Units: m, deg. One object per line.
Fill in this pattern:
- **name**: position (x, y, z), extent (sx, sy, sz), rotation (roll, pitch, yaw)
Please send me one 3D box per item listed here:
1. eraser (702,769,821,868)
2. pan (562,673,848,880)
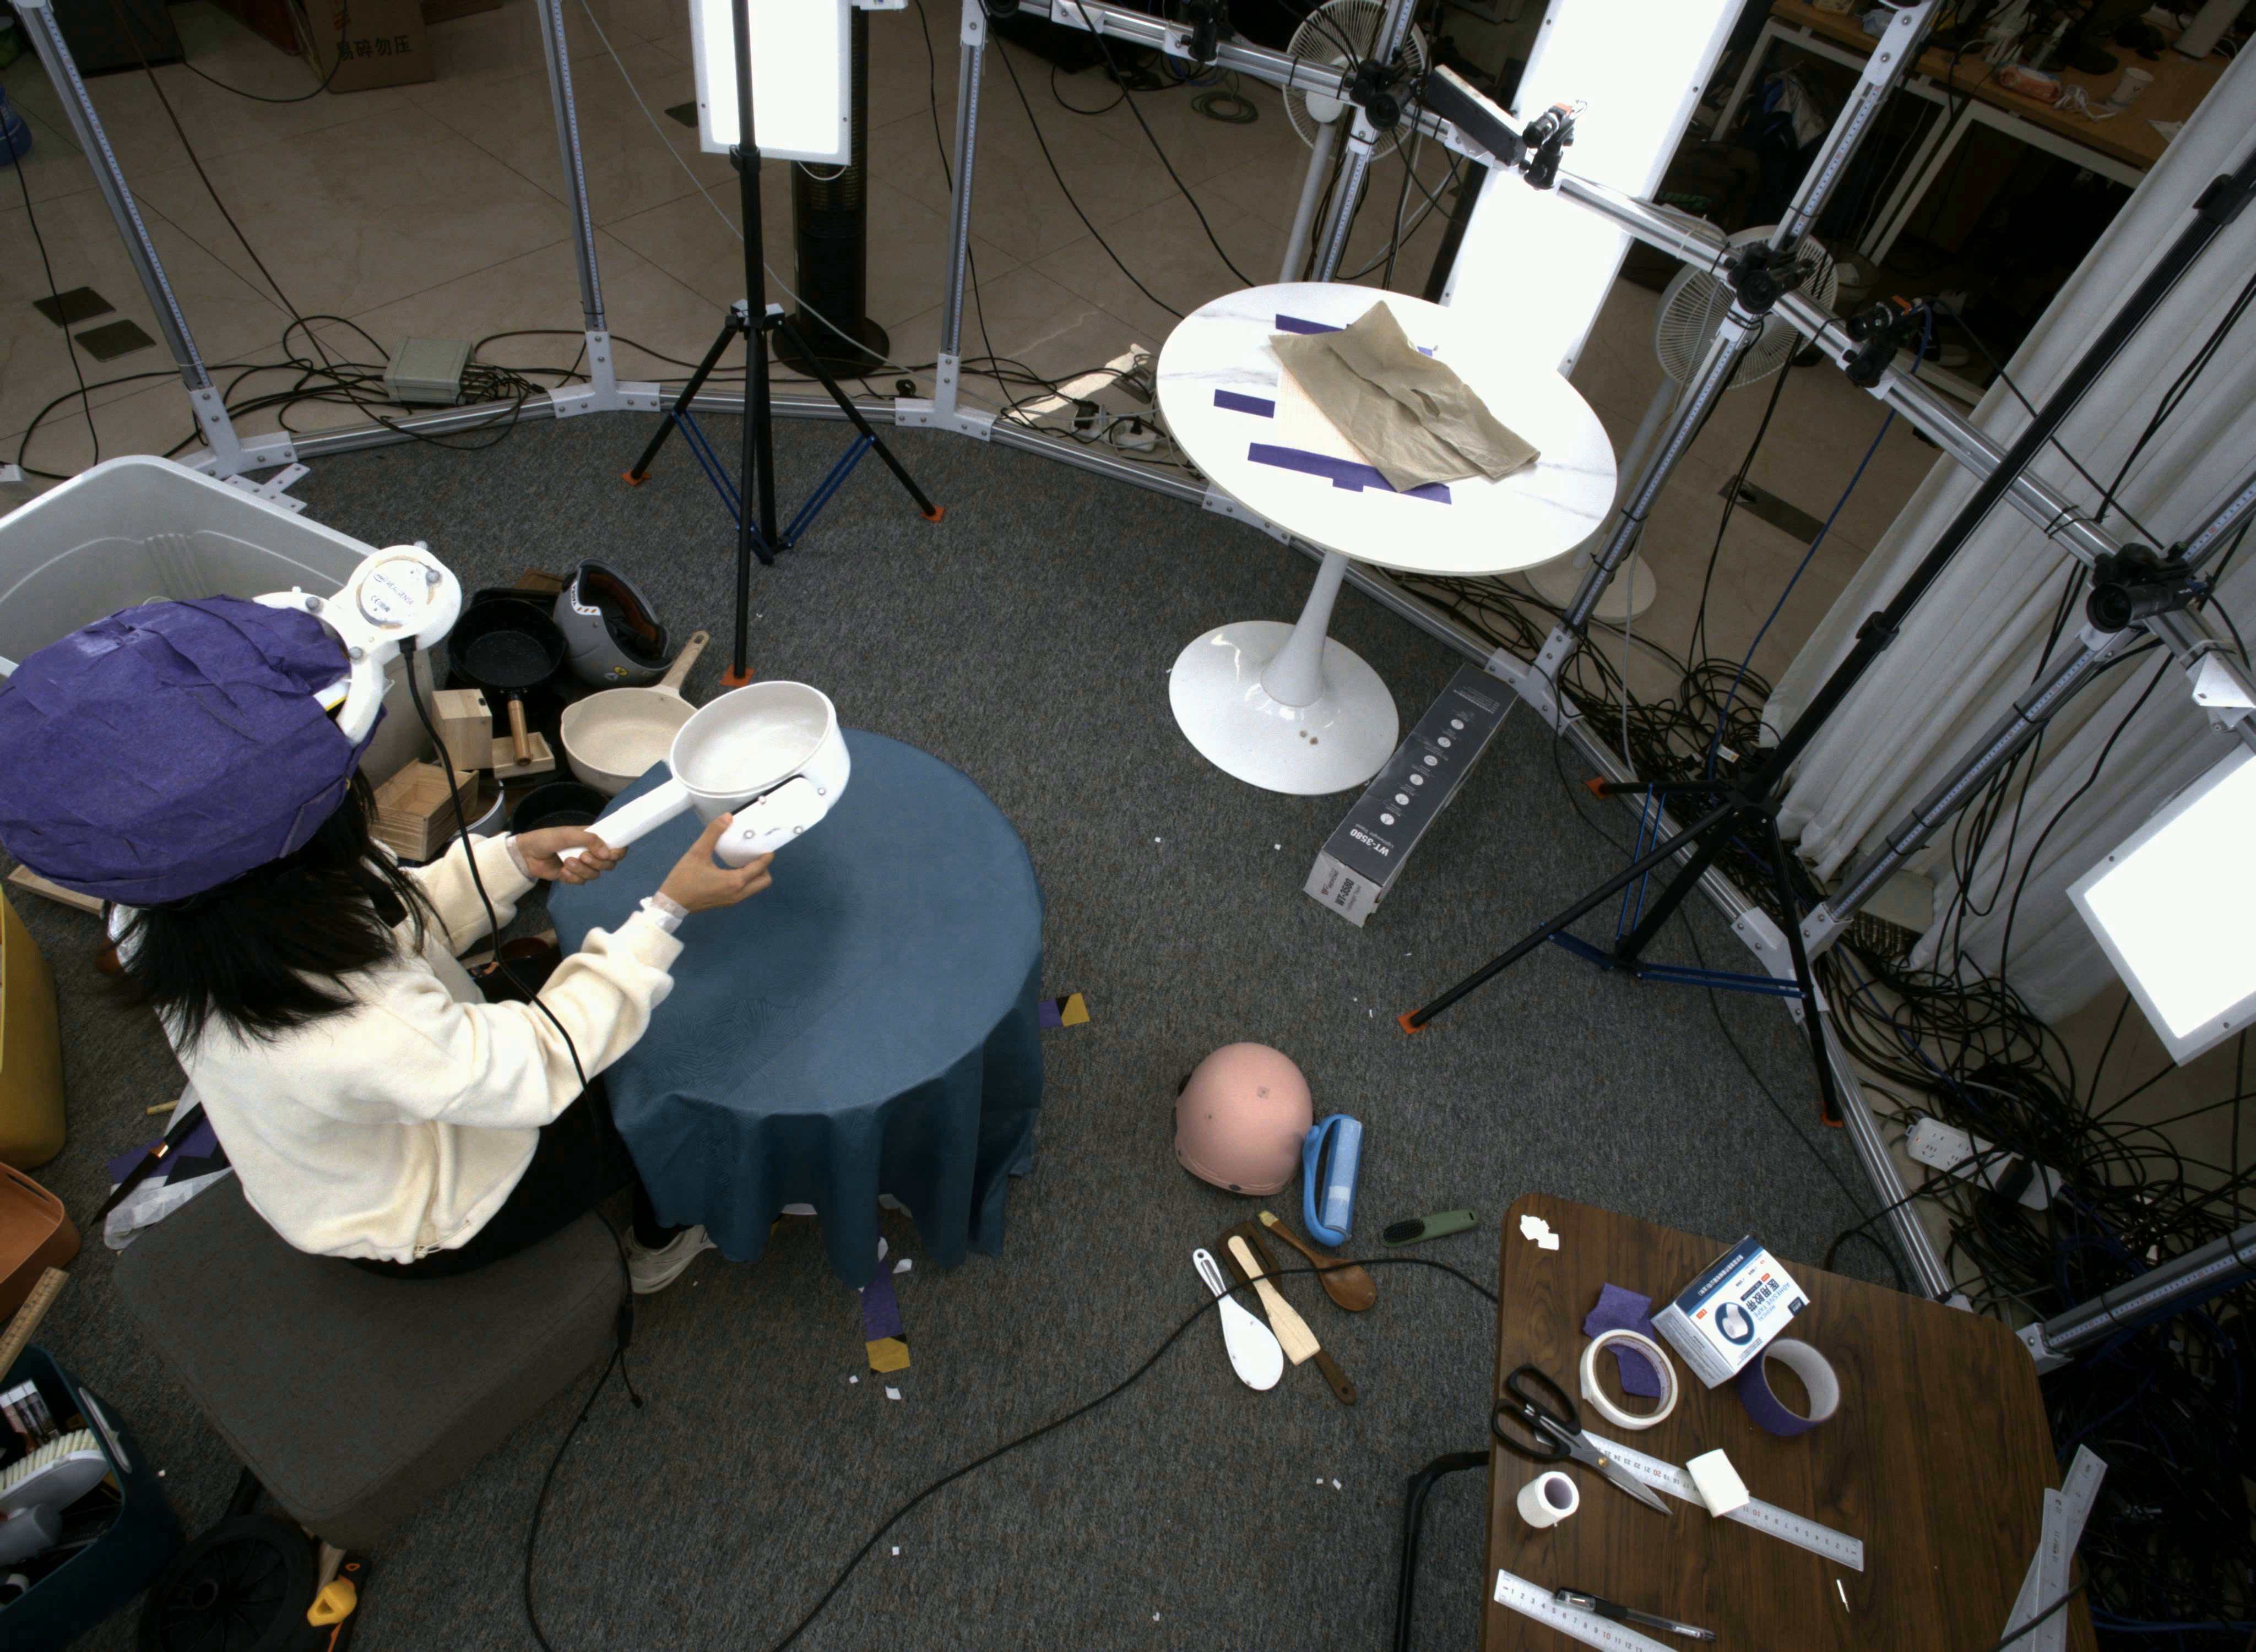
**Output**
- **eraser**: position (-0.408, -0.010, 1.439), extent (0.131, 0.066, 0.033), rotation (-33, 48, -6)
- **pan**: position (-0.488, -0.034, 1.498), extent (0.355, 0.106, 0.194), rotation (-38, 50, -21)
